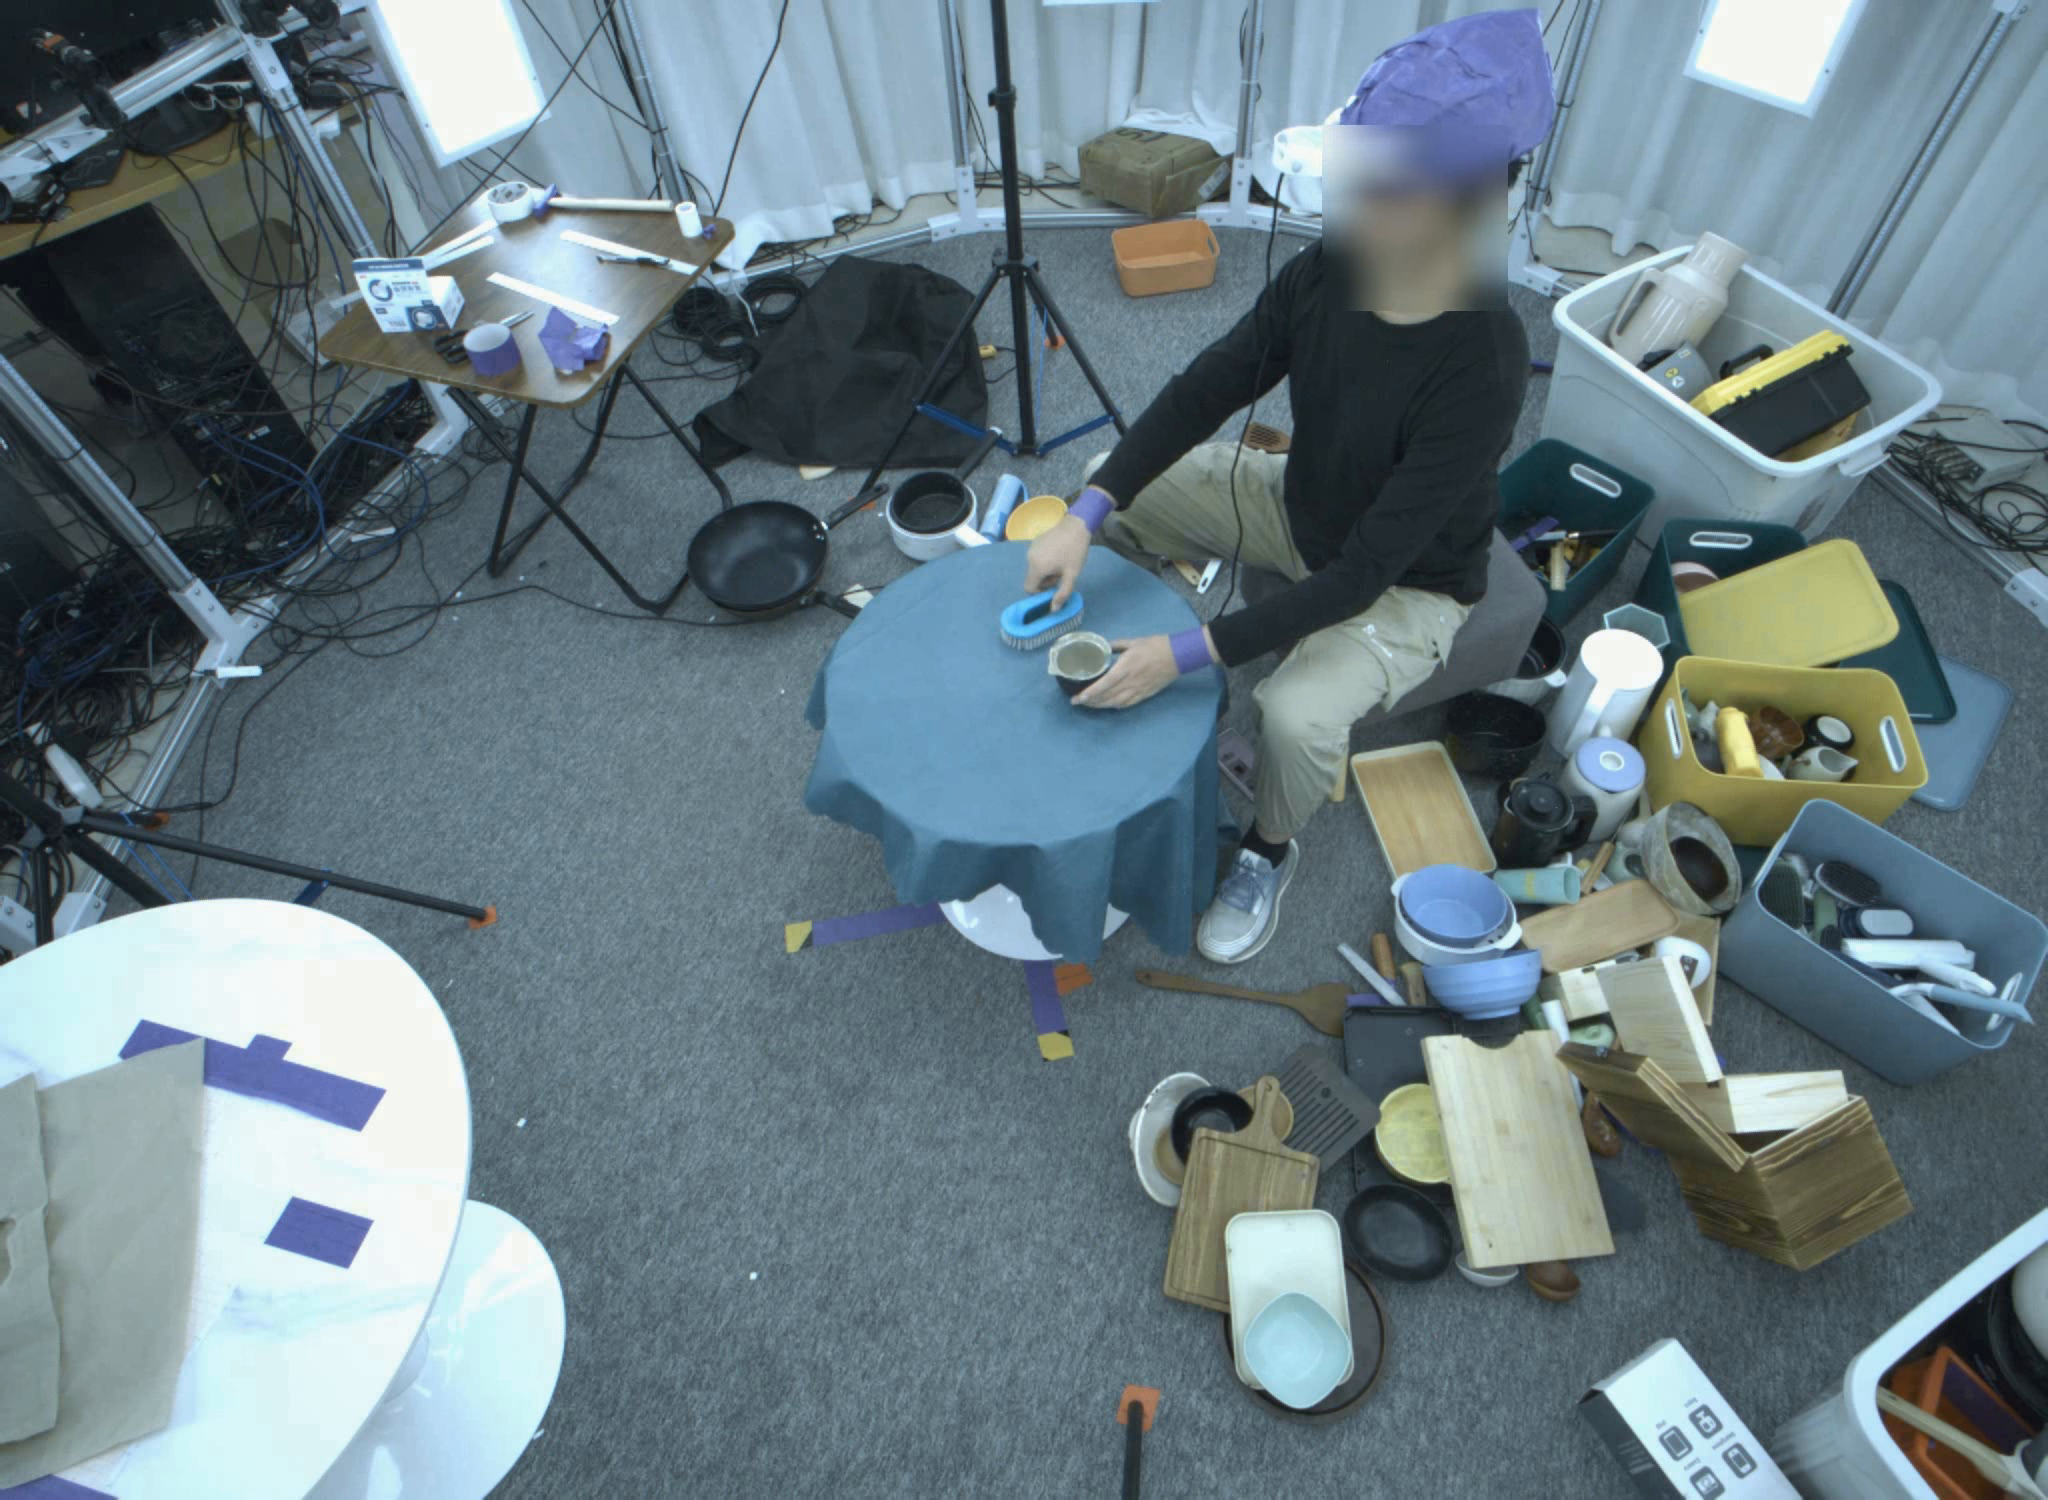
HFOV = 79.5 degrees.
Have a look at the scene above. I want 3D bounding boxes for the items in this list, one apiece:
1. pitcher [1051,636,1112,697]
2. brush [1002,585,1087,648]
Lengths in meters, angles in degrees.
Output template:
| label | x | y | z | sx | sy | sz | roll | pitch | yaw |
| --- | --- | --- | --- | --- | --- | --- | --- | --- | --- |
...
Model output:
| label | x | y | z | sx | sy | sz | roll | pitch | yaw |
| --- | --- | --- | --- | --- | --- | --- | --- | --- | --- |
| pitcher | 0.085 | -0.117 | 1.823 | 0.096 | 0.072 | 0.082 | -24 | 58 | -12 |
| brush | 0.029 | -0.218 | 1.902 | 0.143 | 0.064 | 0.082 | -26 | 53 | -16 |
